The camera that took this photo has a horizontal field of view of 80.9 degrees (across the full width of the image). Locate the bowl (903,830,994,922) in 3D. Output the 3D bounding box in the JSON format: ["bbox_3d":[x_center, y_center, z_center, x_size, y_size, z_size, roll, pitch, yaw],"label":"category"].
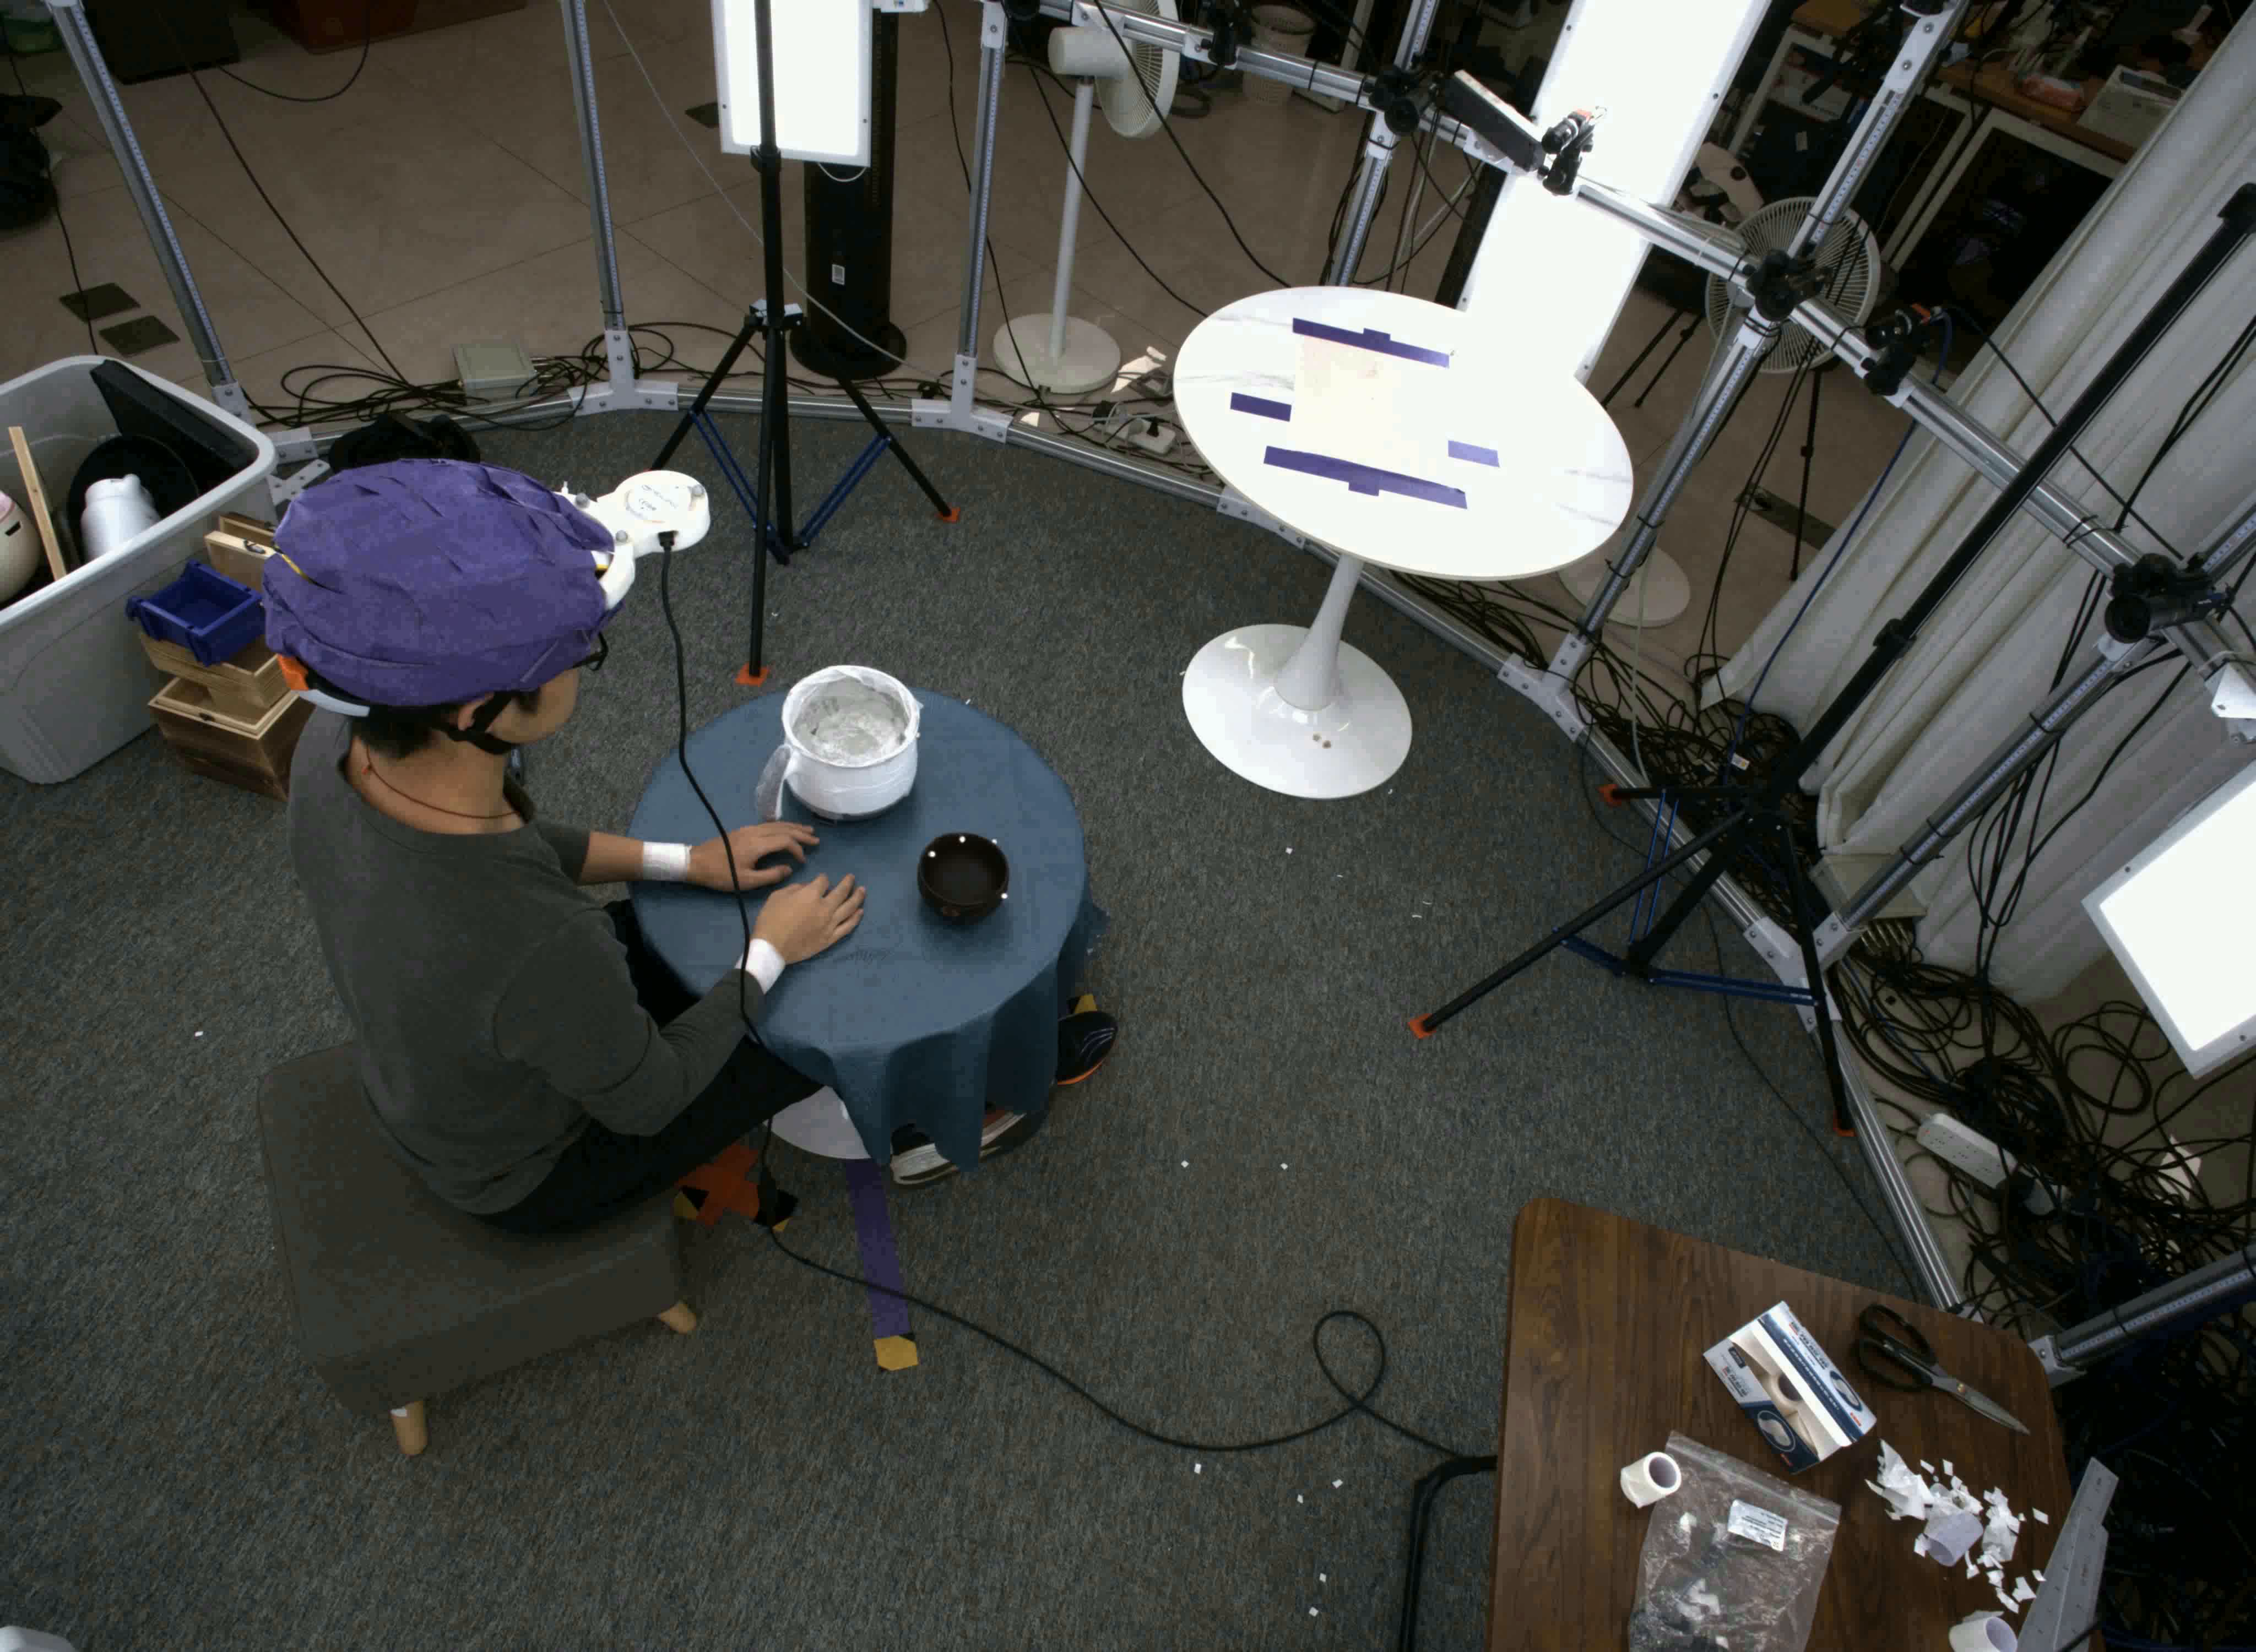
[{"bbox_3d":[-0.232,0.071,1.685,0.117,0.071,0.116,6,54,-7],"label":"bowl"}]

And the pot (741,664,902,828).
[{"bbox_3d":[-0.411,-0.092,1.719,0.174,0.139,0.234,41,56,19],"label":"pot"}]
